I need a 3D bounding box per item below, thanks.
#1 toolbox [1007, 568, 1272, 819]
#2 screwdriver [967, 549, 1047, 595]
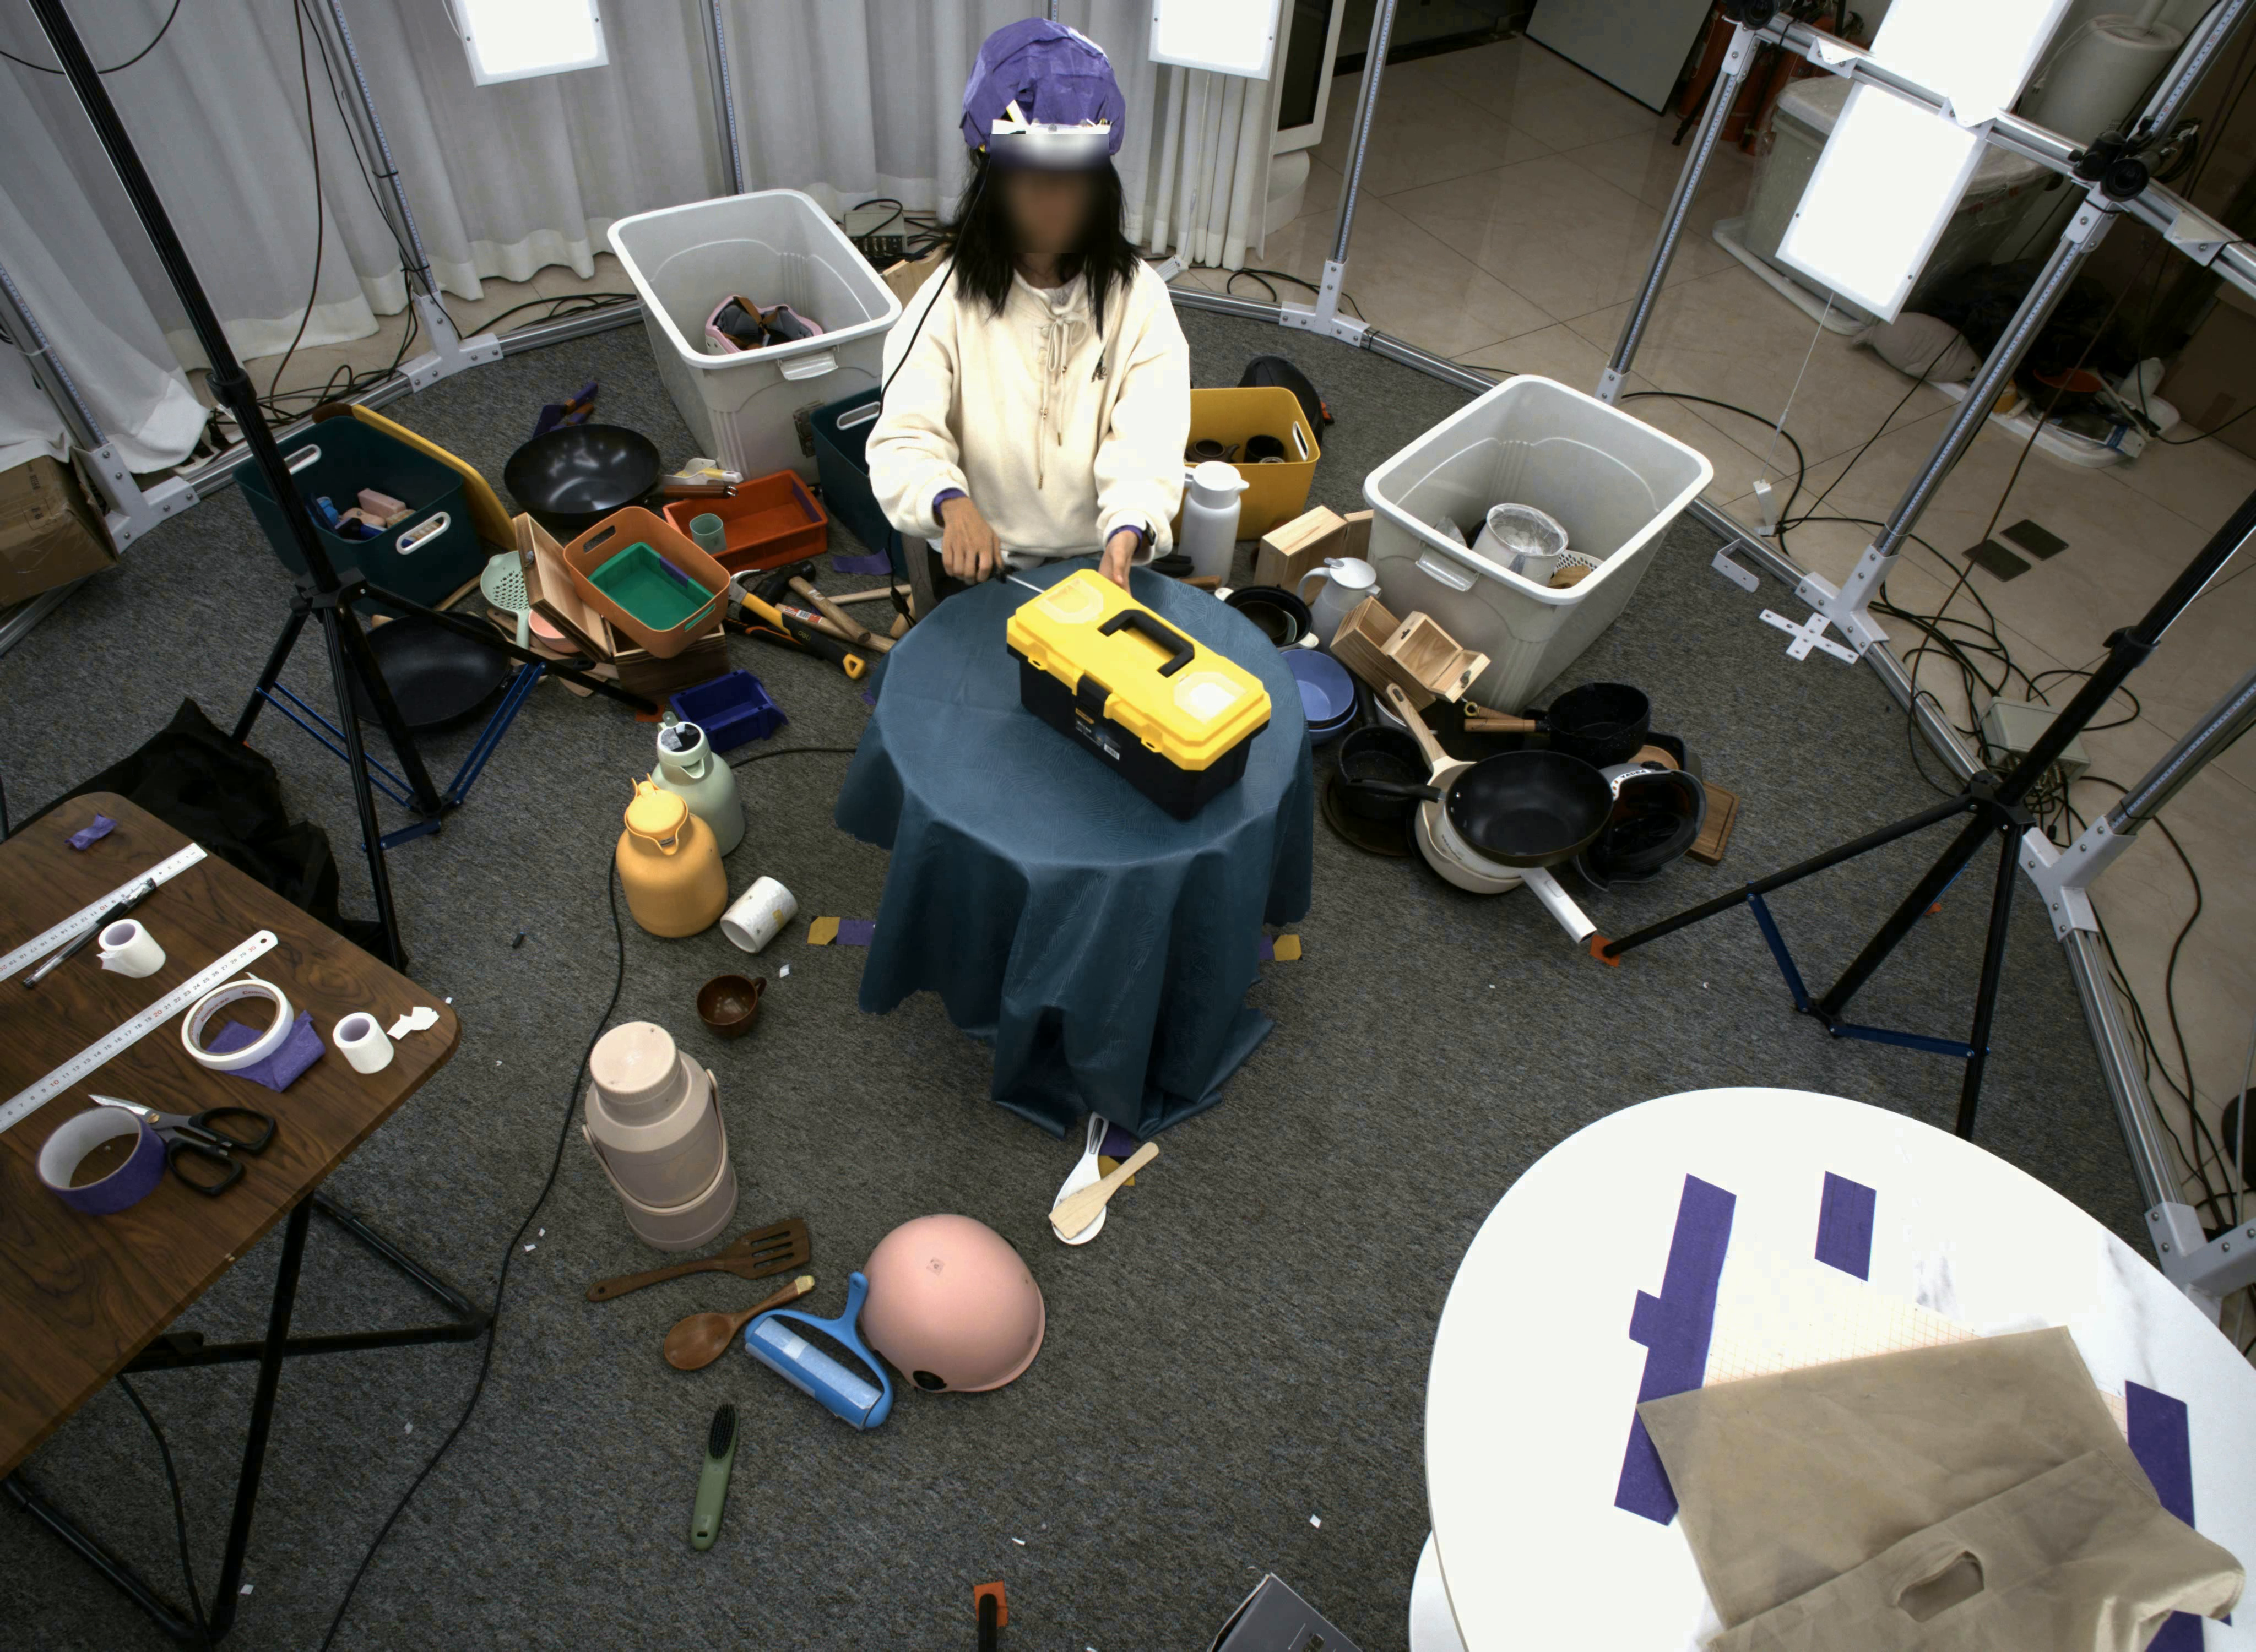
[{"bbox_3d":[0.007,-0.176,1.711,0.356,0.168,0.183,38,57,25],"label":"toolbox"},{"bbox_3d":[-0.170,-0.353,1.800,0.031,0.031,0.199,-26,36,-24],"label":"screwdriver"}]
